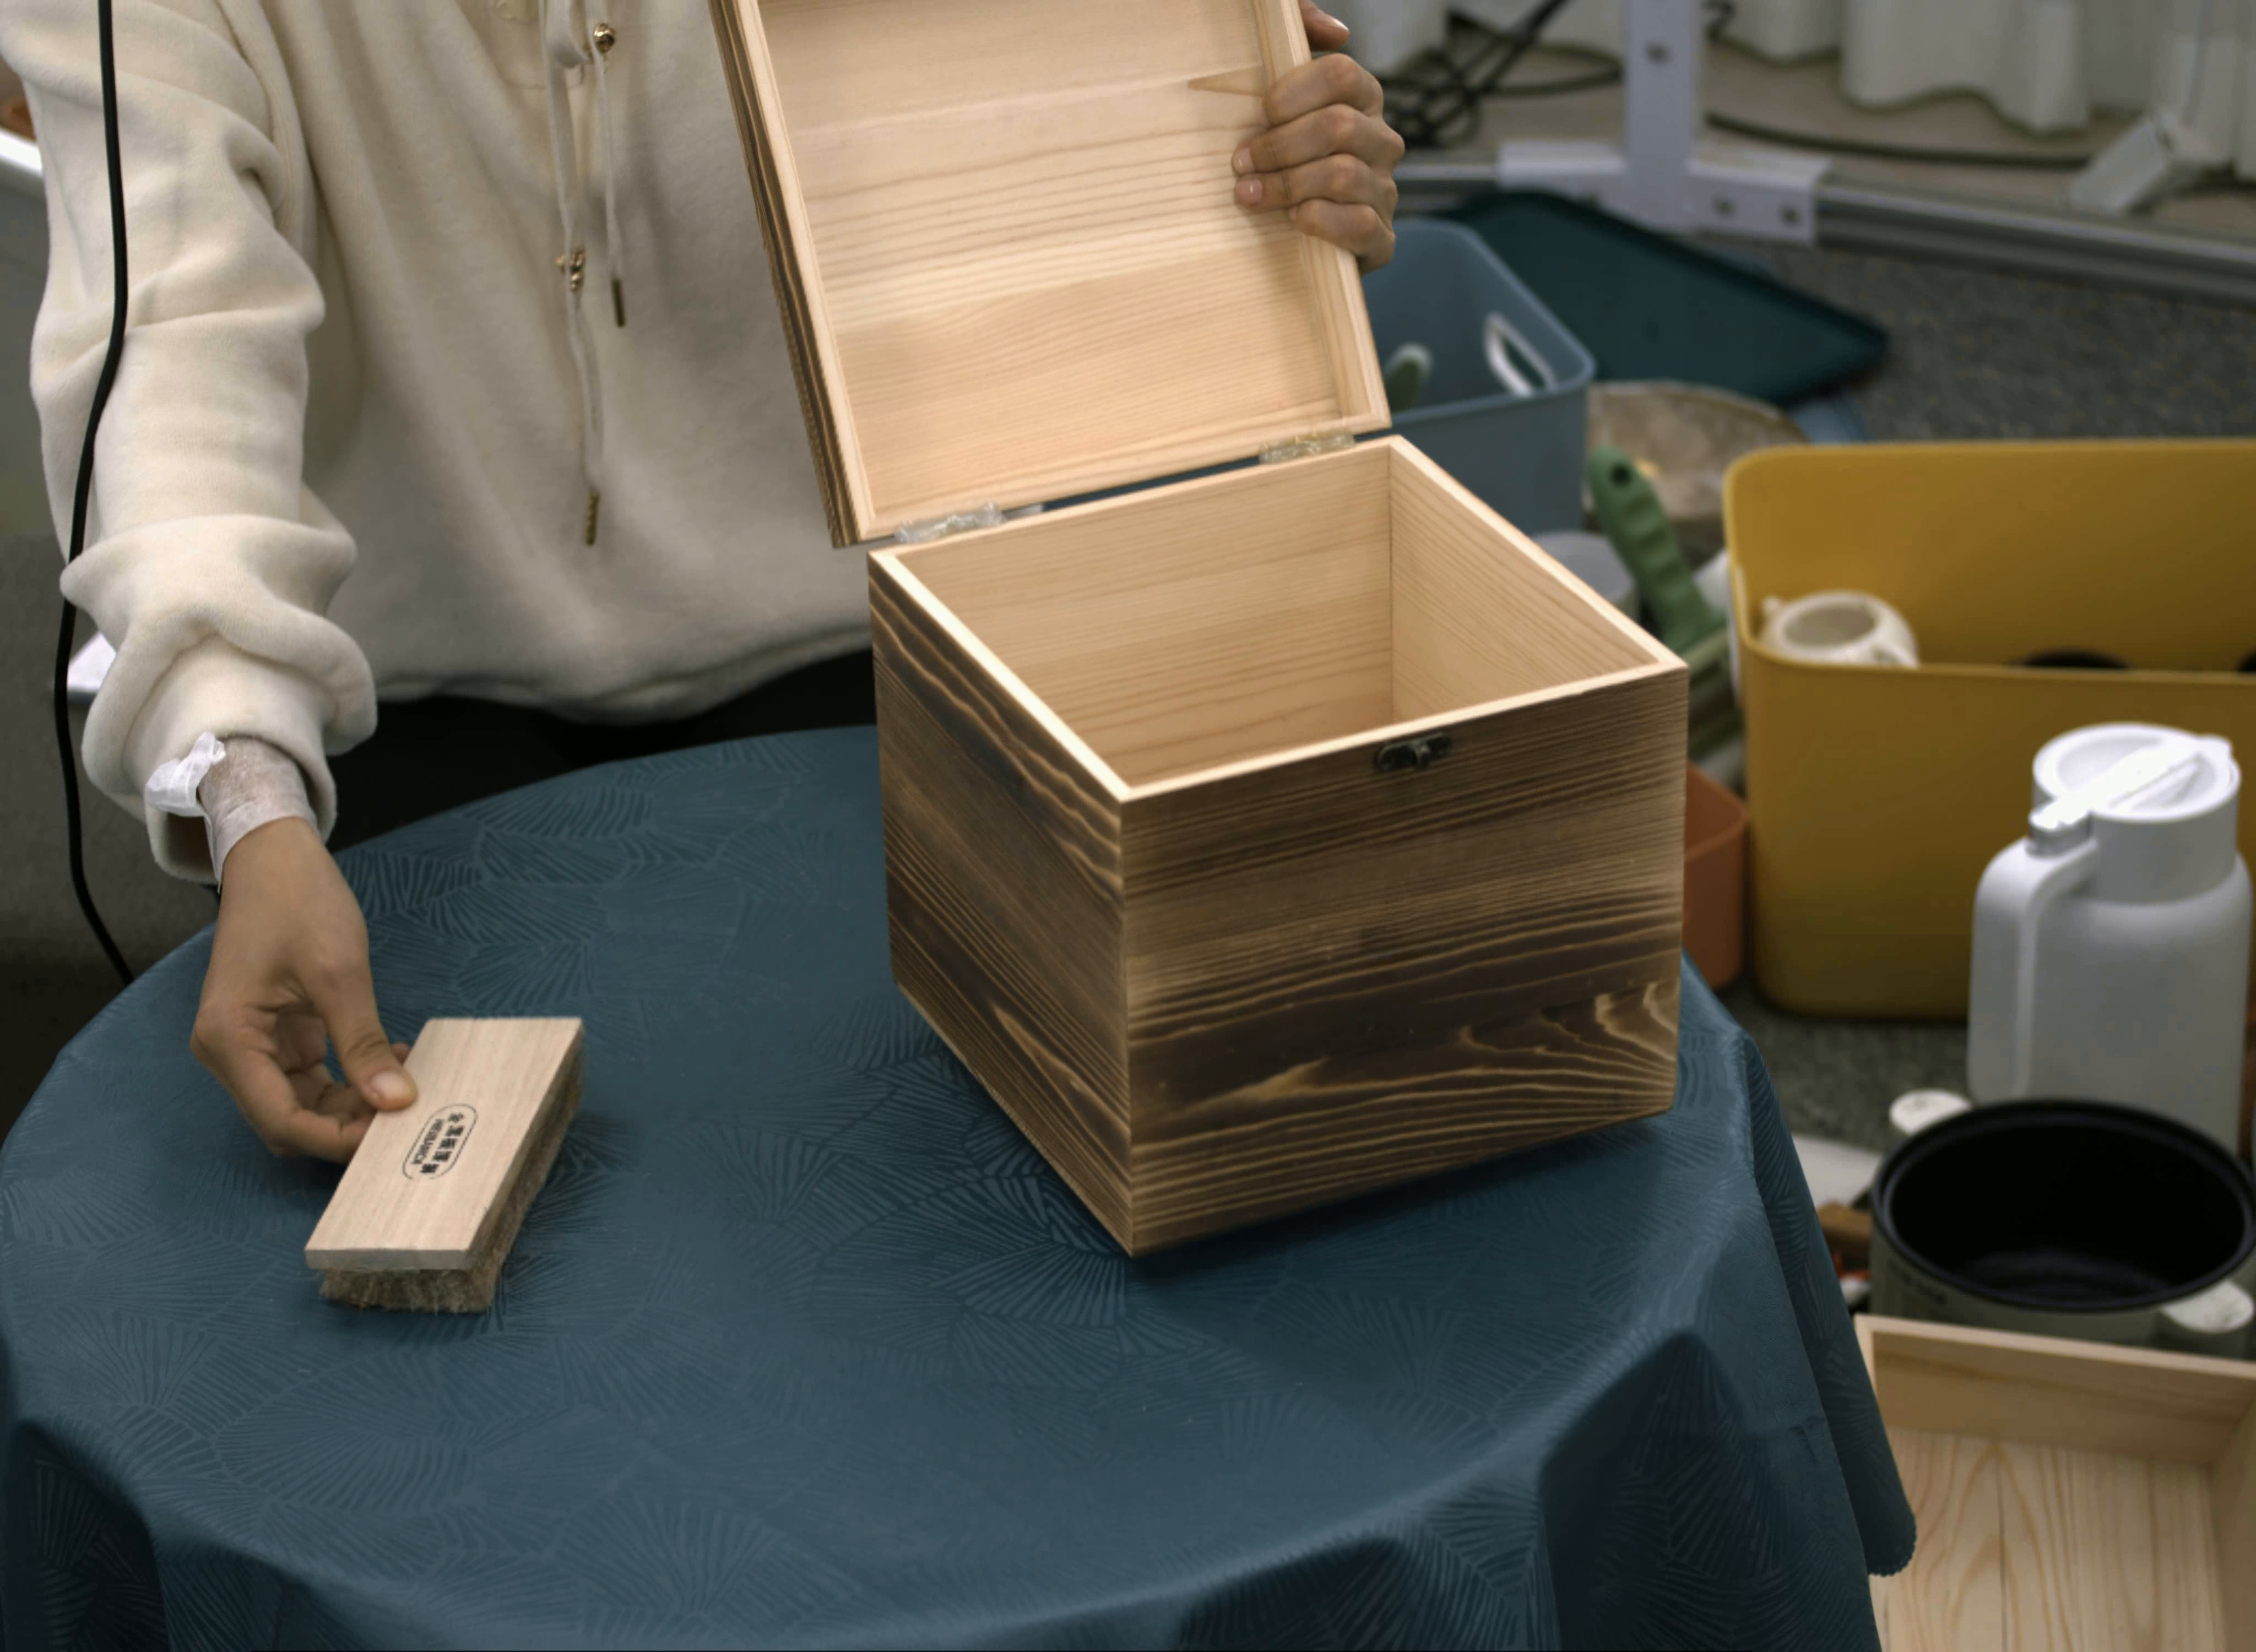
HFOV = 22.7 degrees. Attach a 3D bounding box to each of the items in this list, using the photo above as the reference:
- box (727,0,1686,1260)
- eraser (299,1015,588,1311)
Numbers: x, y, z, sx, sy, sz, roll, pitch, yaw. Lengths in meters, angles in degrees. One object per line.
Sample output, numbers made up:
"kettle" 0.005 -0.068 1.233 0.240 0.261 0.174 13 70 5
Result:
"box" 0.021 -0.108 1.871 0.209 0.371 0.324 -14 31 -22
"eraser" -0.224 0.112 1.865 0.056 0.028 0.142 -1 29 14
